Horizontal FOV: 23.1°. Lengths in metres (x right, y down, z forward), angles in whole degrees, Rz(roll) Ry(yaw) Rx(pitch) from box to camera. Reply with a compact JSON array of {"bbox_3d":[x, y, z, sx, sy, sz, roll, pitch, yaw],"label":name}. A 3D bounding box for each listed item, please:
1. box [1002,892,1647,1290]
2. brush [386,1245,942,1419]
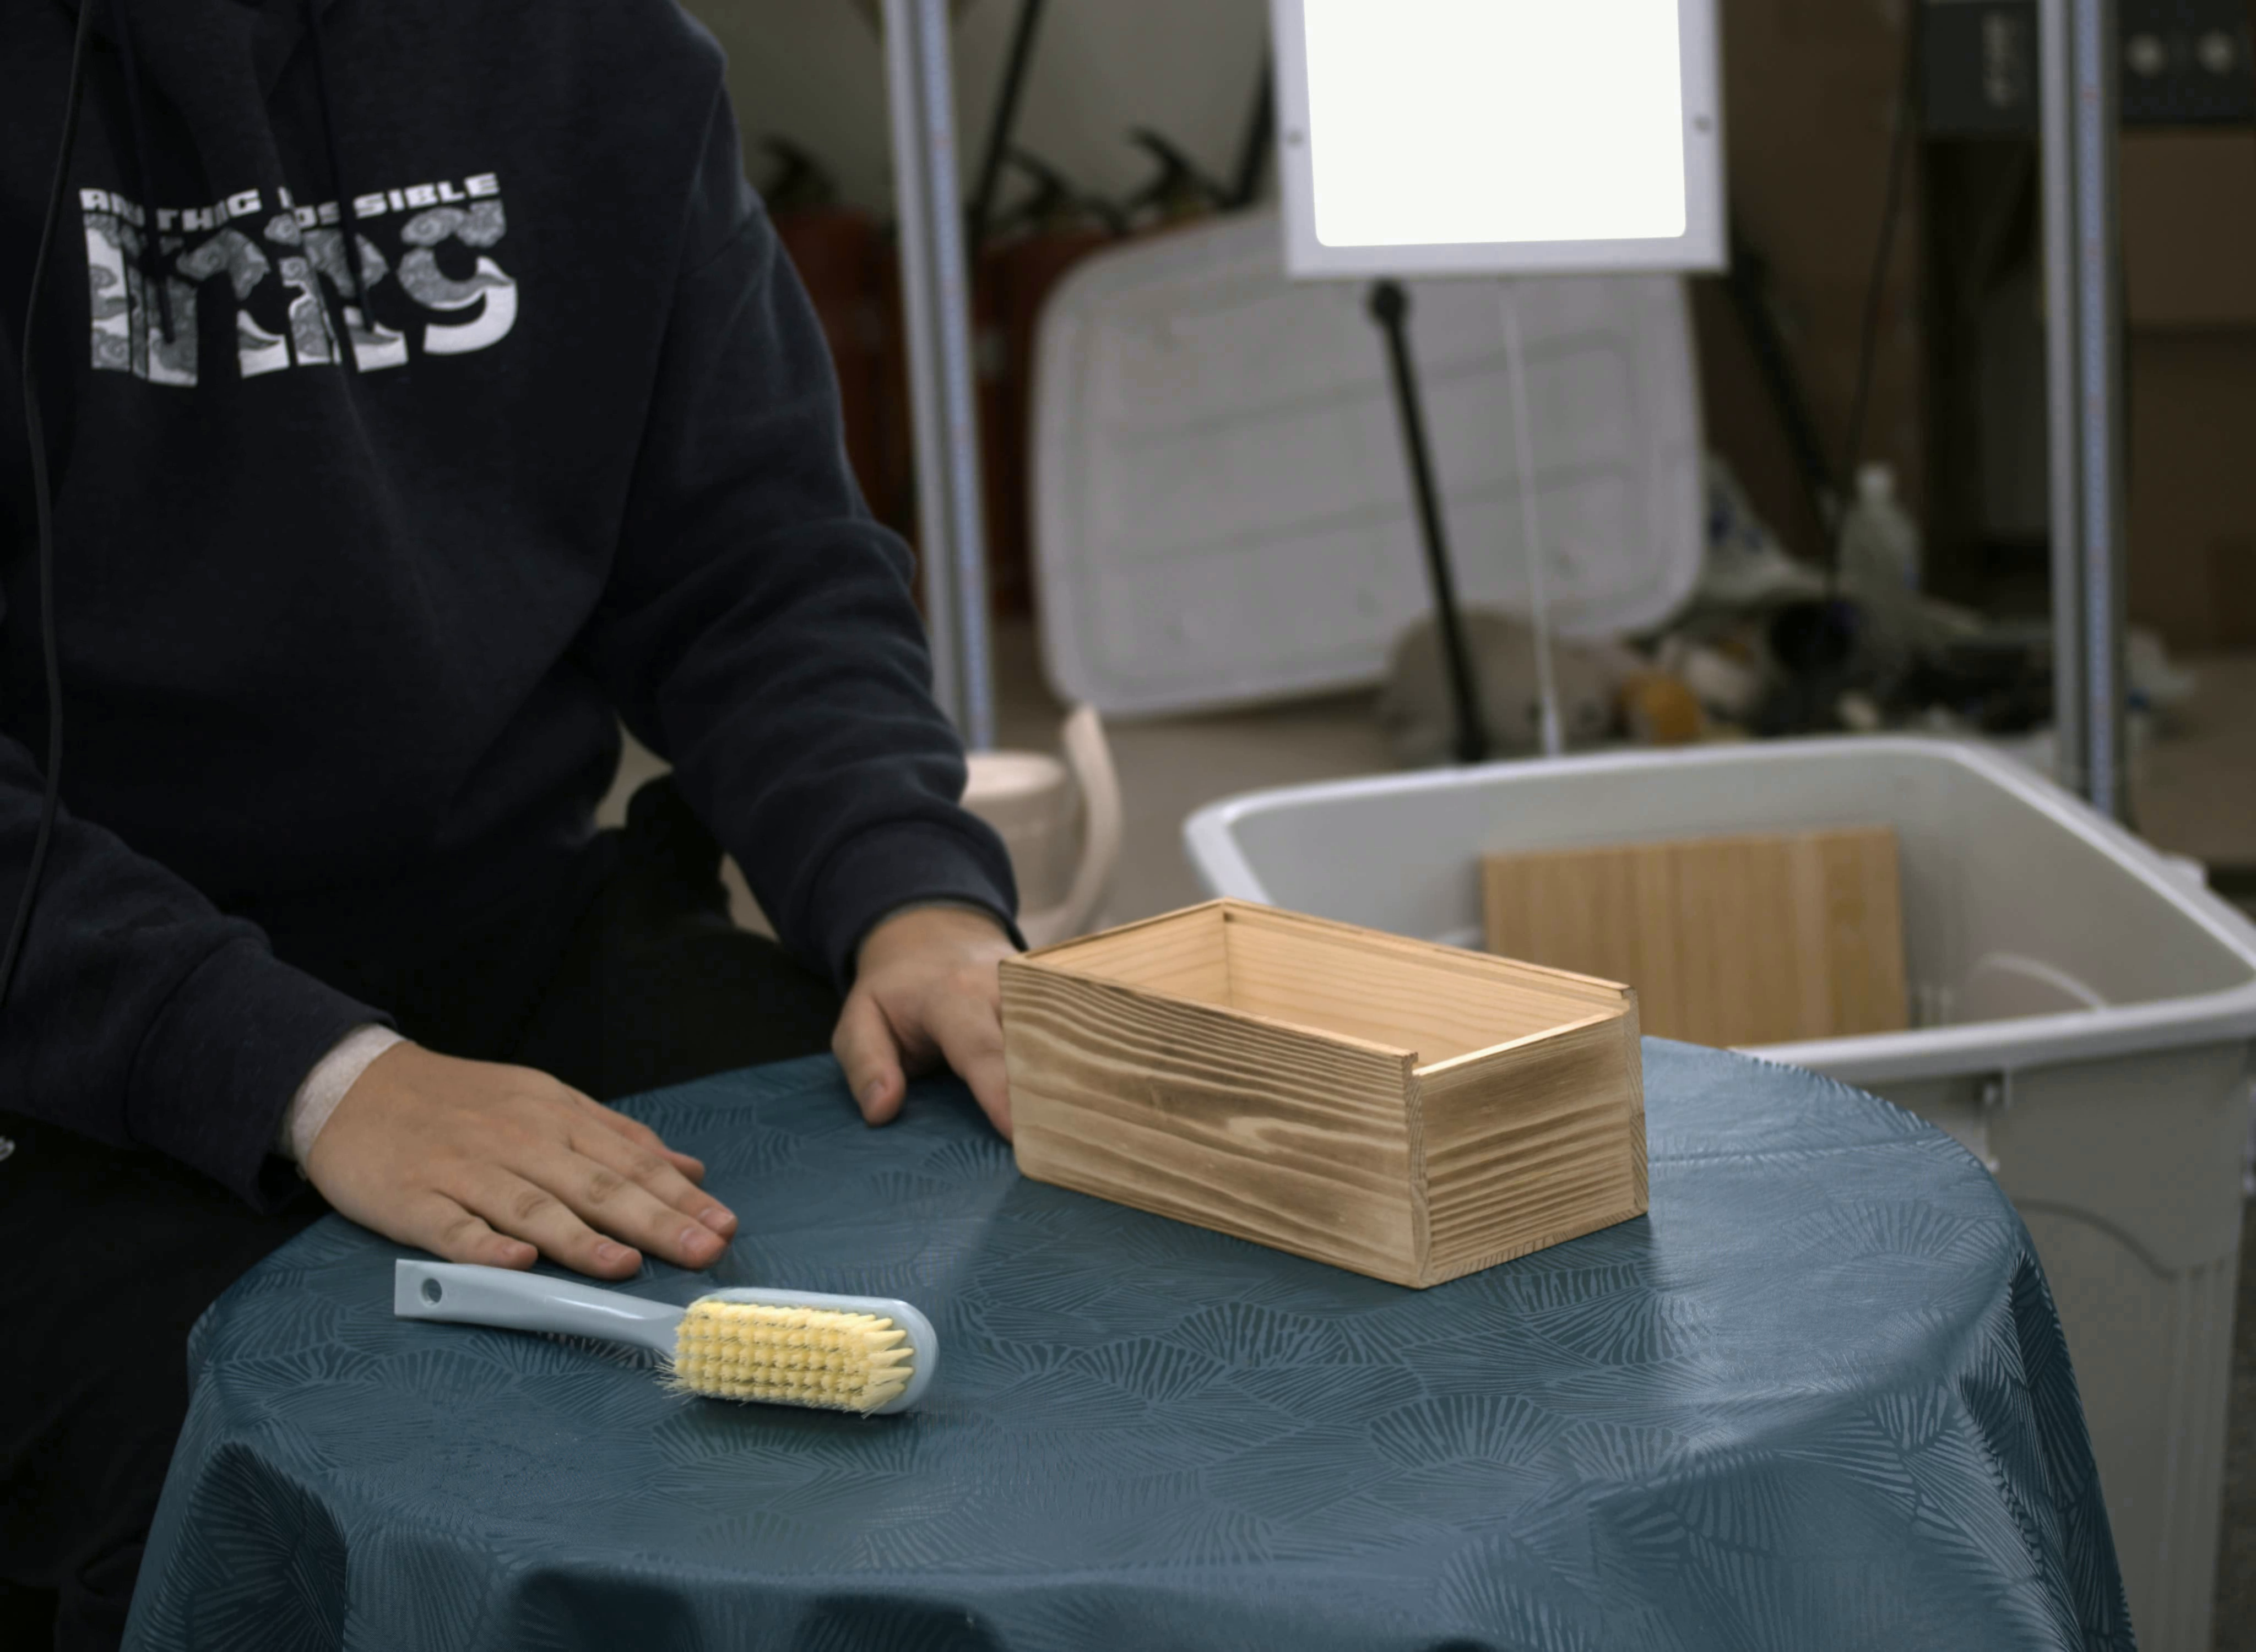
[{"bbox_3d":[0.065,0.087,1.869,0.105,0.080,0.216,-15,17,-36],"label":"box"},{"bbox_3d":[-0.158,0.157,1.749,0.233,0.038,0.048,7,11,40],"label":"brush"}]
